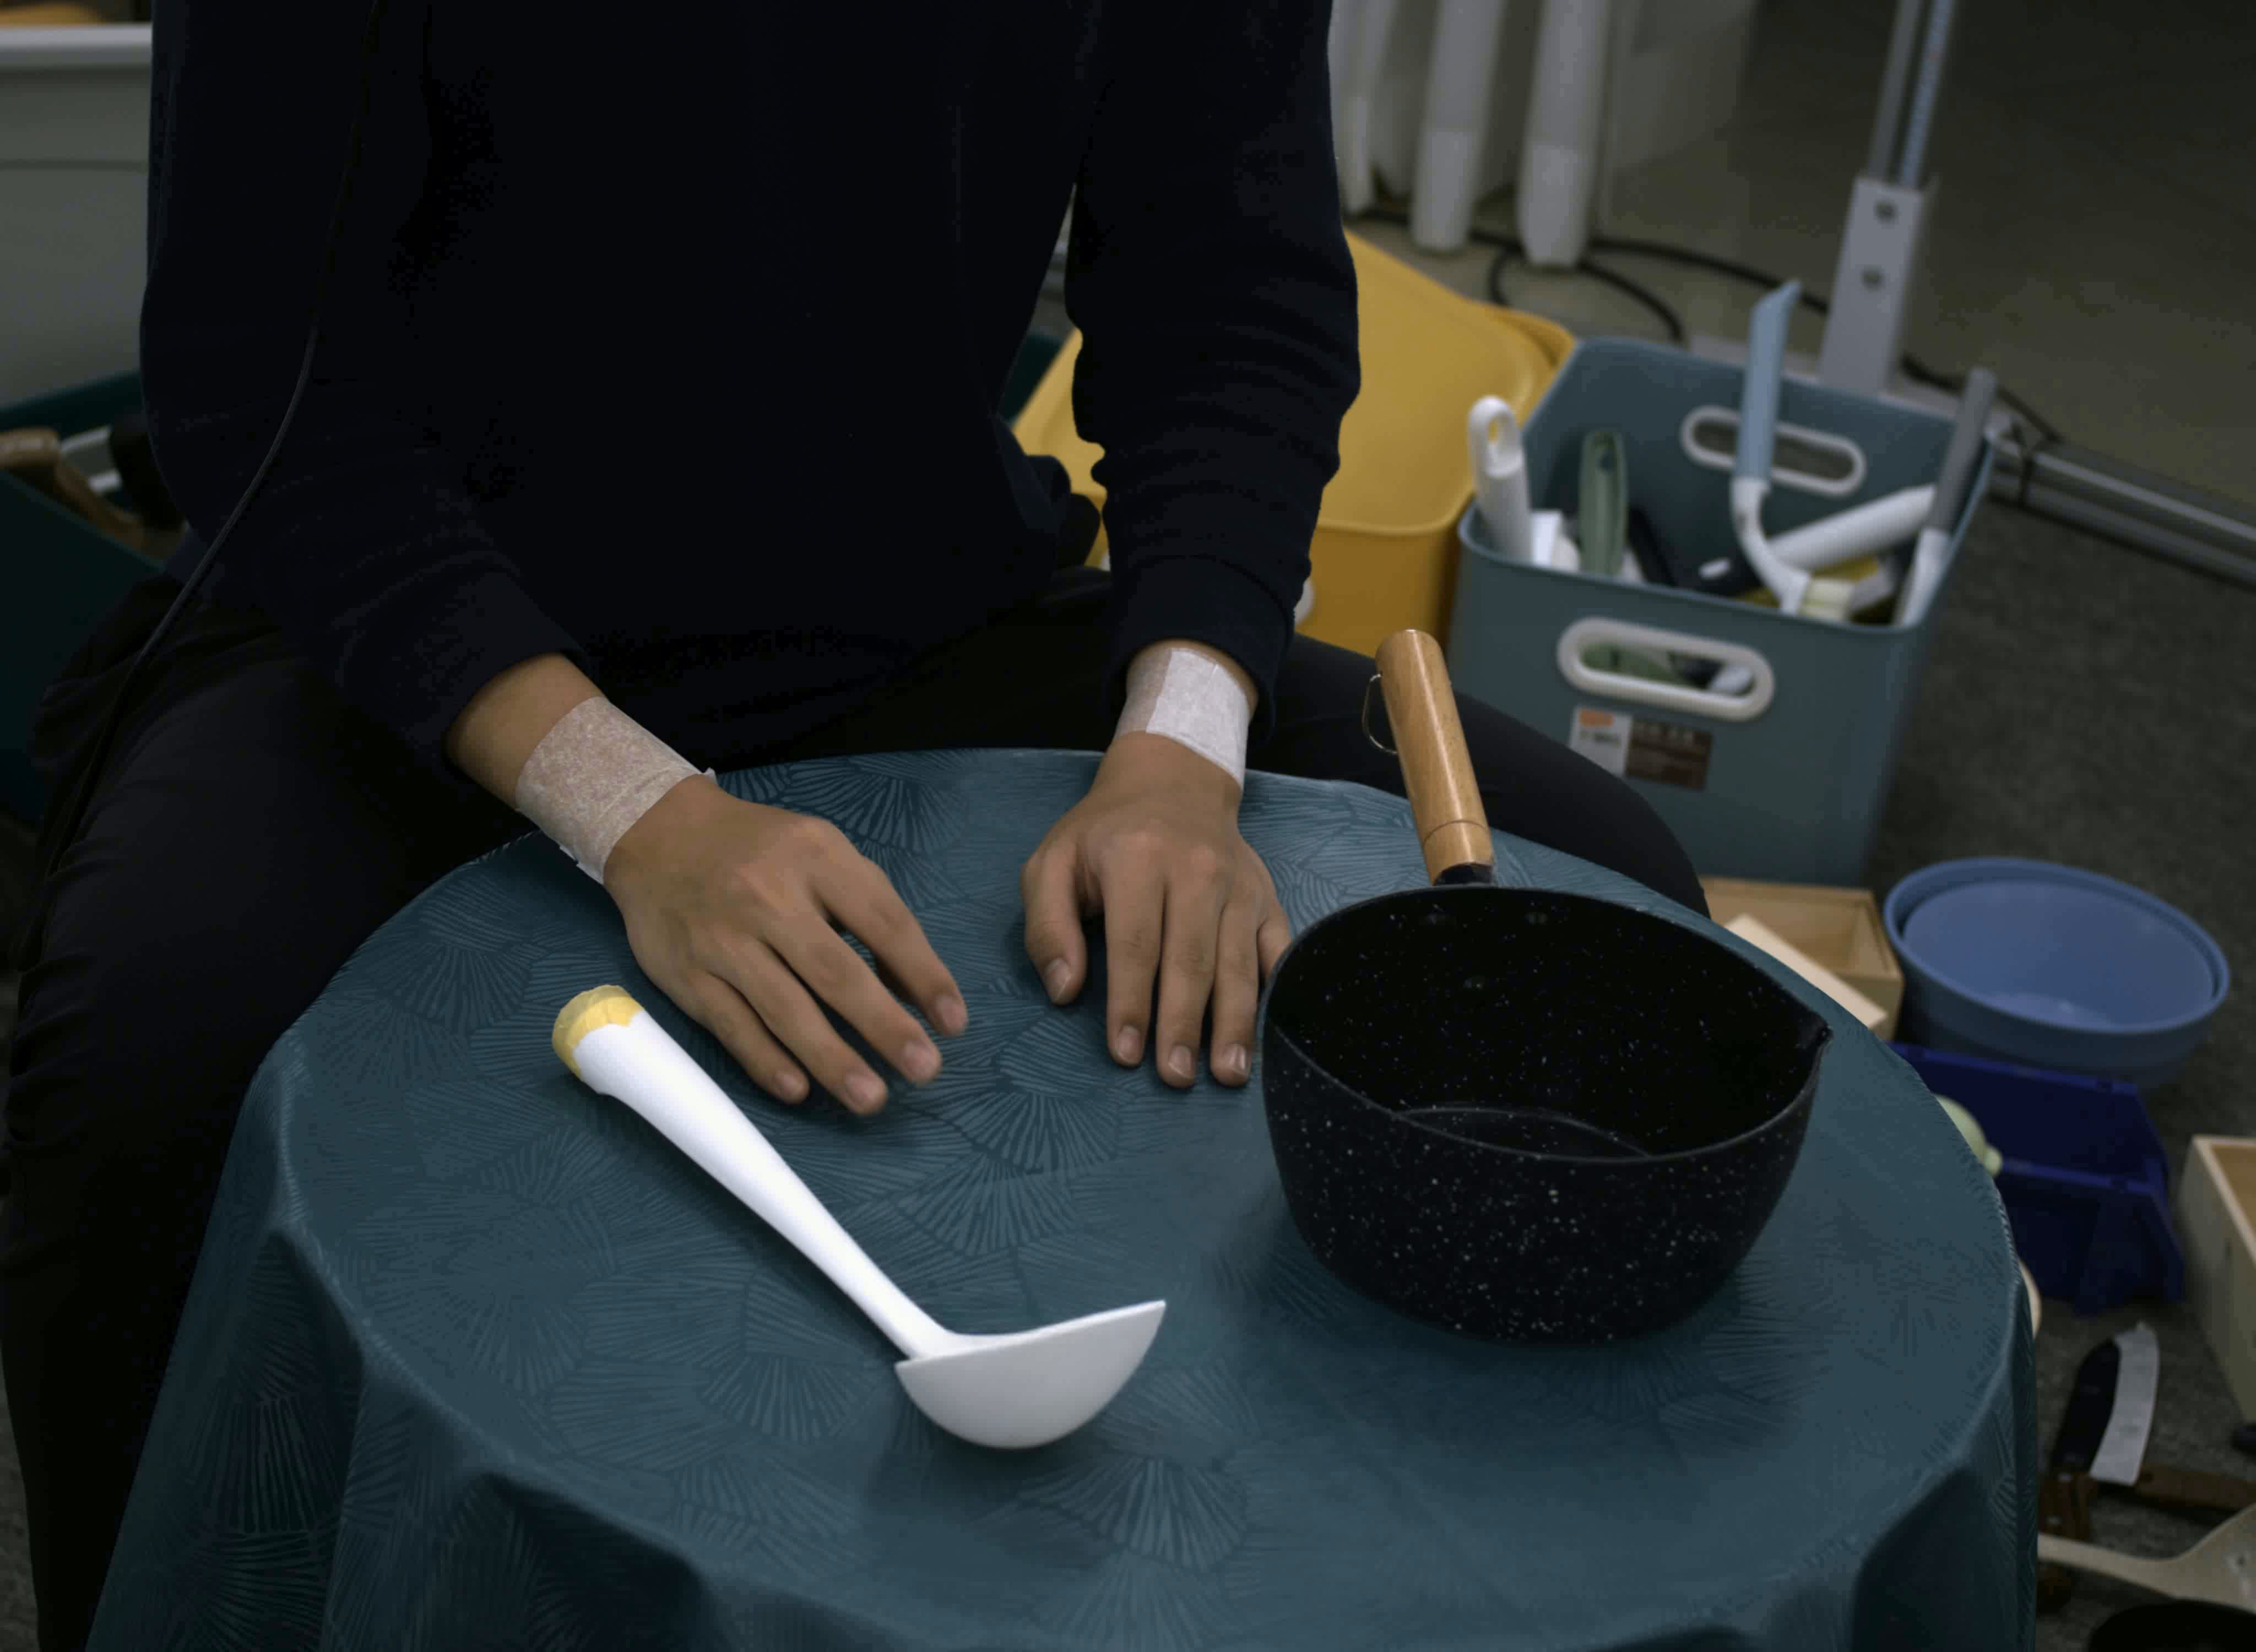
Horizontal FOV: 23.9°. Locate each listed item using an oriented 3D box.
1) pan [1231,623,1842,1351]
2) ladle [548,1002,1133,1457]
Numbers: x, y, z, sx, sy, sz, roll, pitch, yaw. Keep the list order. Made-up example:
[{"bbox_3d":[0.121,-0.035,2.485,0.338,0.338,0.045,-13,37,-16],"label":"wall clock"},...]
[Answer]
[{"bbox_3d":[0.122,0.052,1.851,0.206,0.108,0.345,0,29,-11],"label":"pan"},{"bbox_3d":[-0.104,0.118,1.719,0.089,0.069,0.295,-18,34,-29],"label":"ladle"}]
